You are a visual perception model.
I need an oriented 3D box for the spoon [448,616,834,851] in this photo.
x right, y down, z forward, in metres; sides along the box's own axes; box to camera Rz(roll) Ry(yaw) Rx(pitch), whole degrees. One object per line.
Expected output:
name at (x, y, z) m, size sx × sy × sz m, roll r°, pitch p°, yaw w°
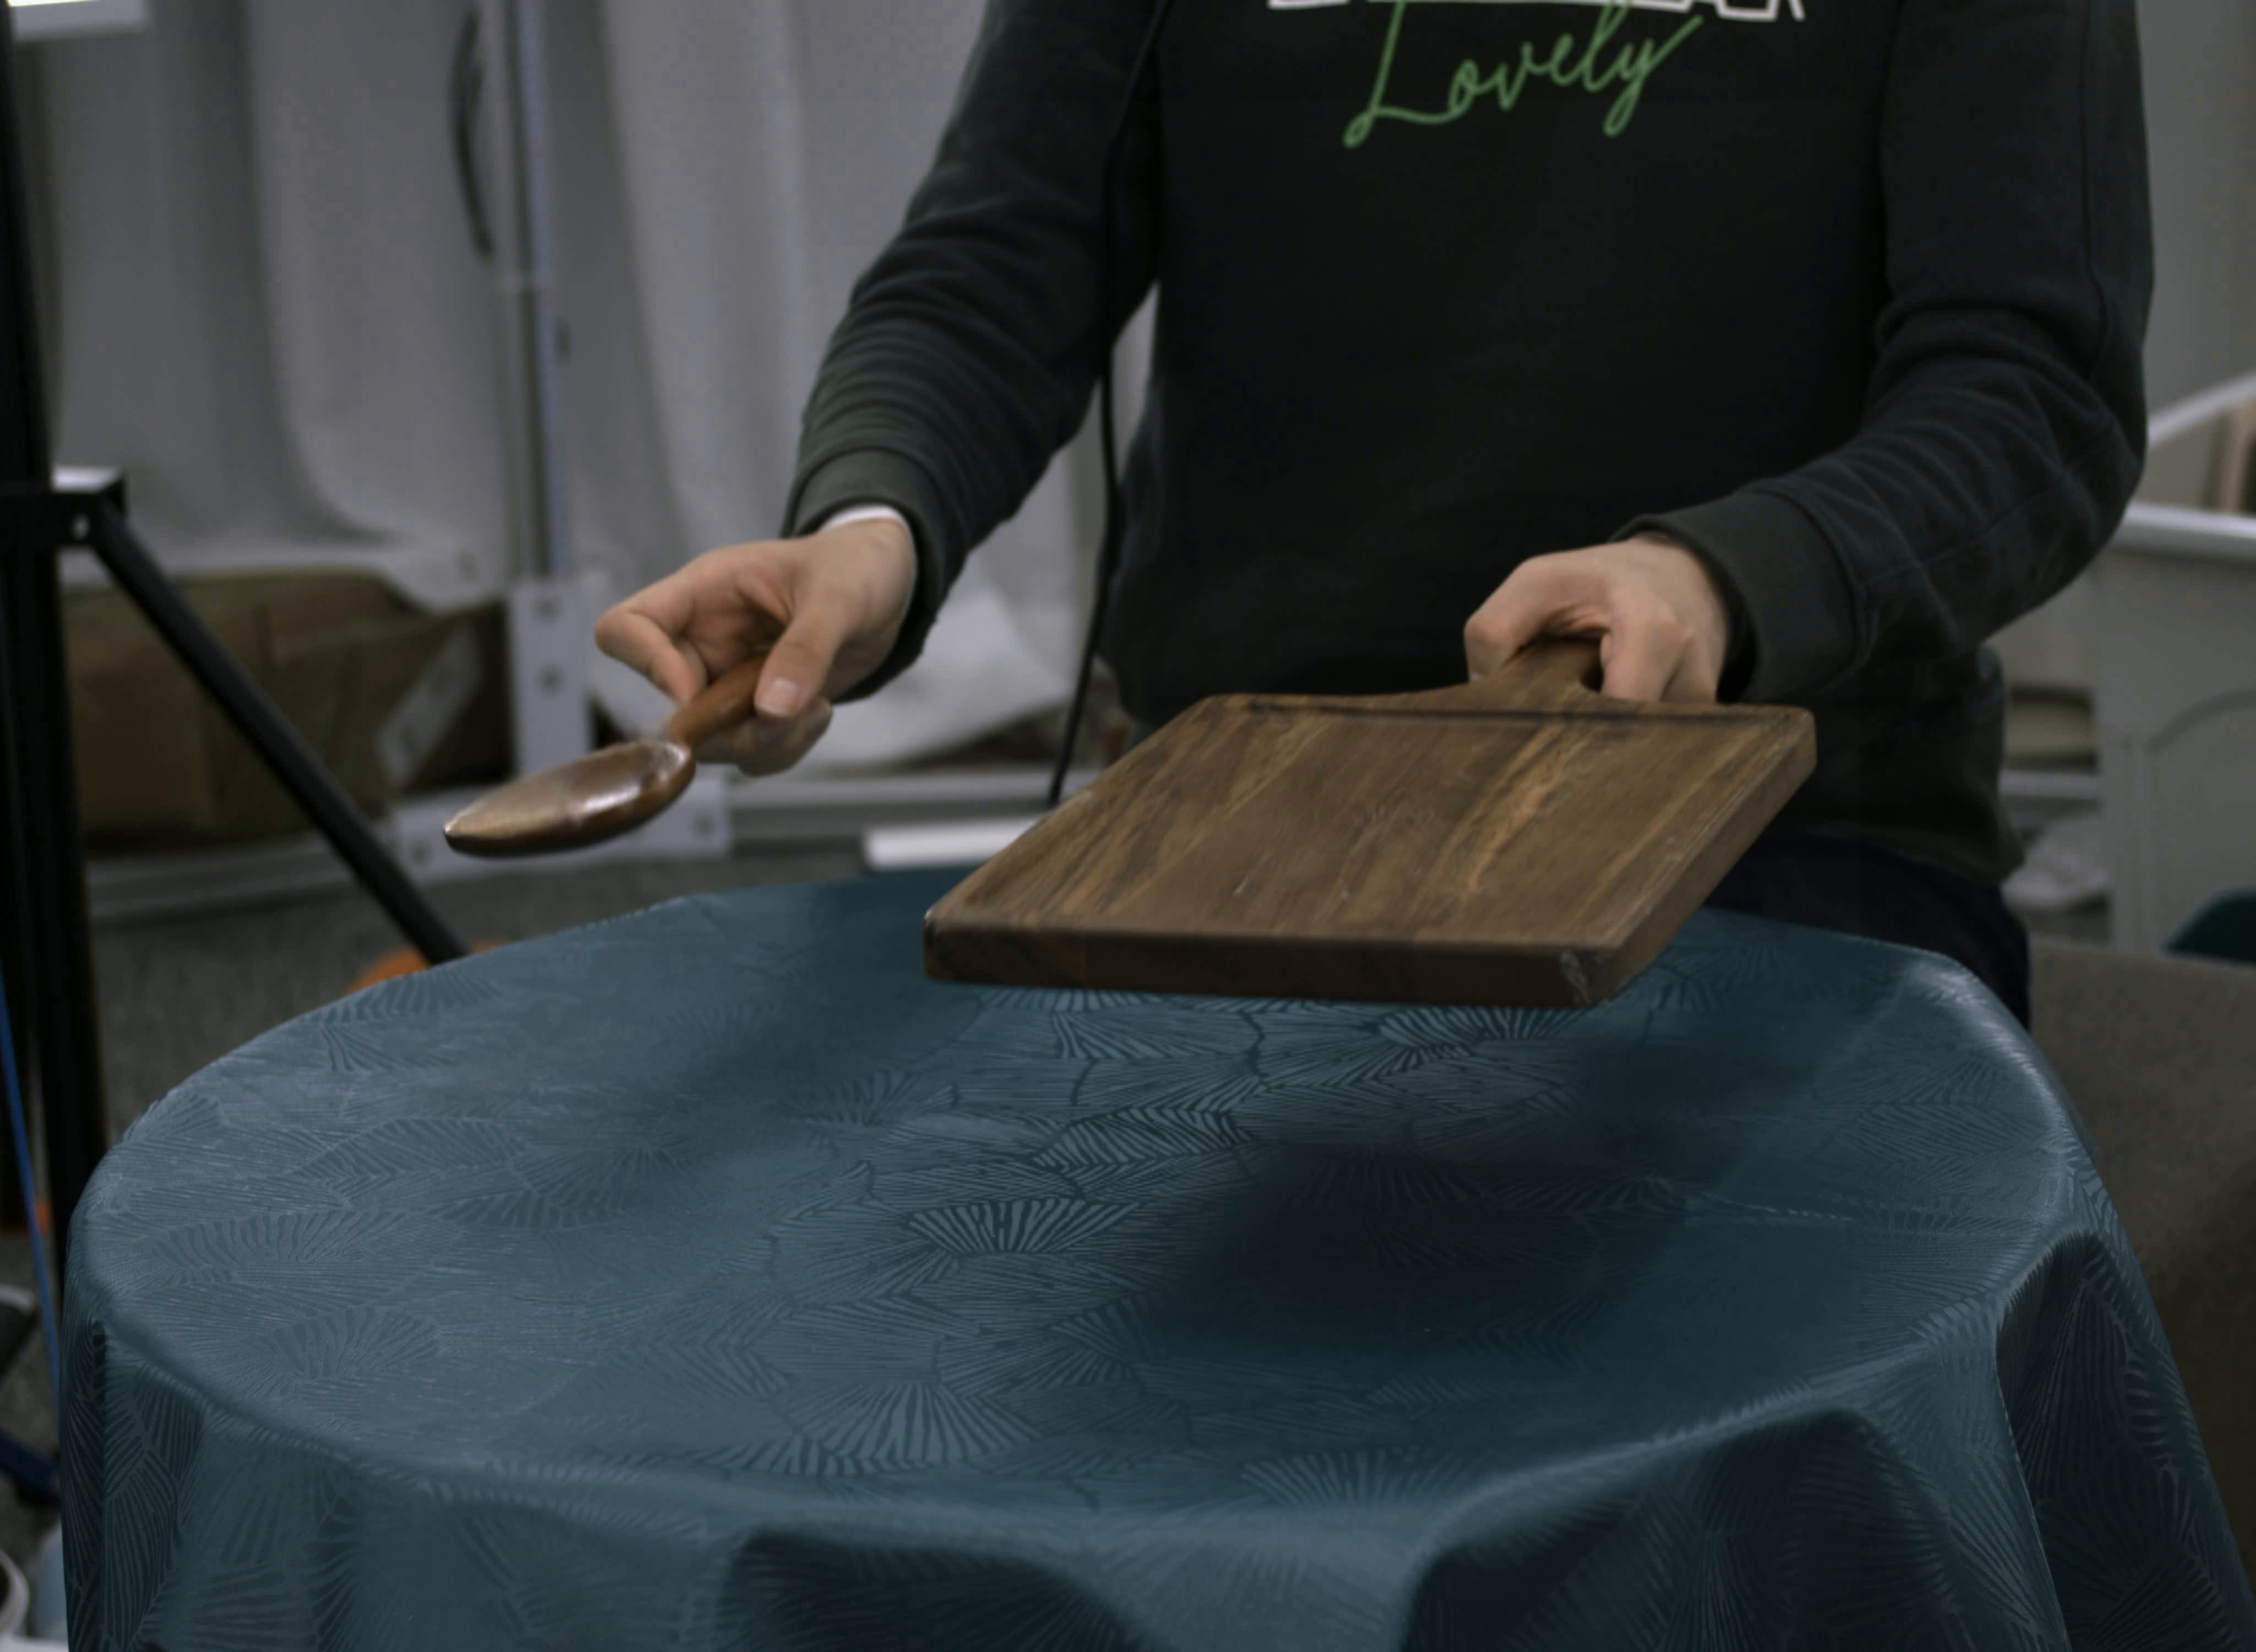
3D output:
spoon at (-0.144, -0.028, 1.677) m, size 0.076 × 0.017 × 0.213 m, roll -11°, pitch 15°, yaw 26°

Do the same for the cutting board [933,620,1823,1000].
cutting board at (0.093, -0.010, 1.547) m, size 0.203 × 0.023 × 0.348 m, roll 0°, pitch 15°, yaw 20°
